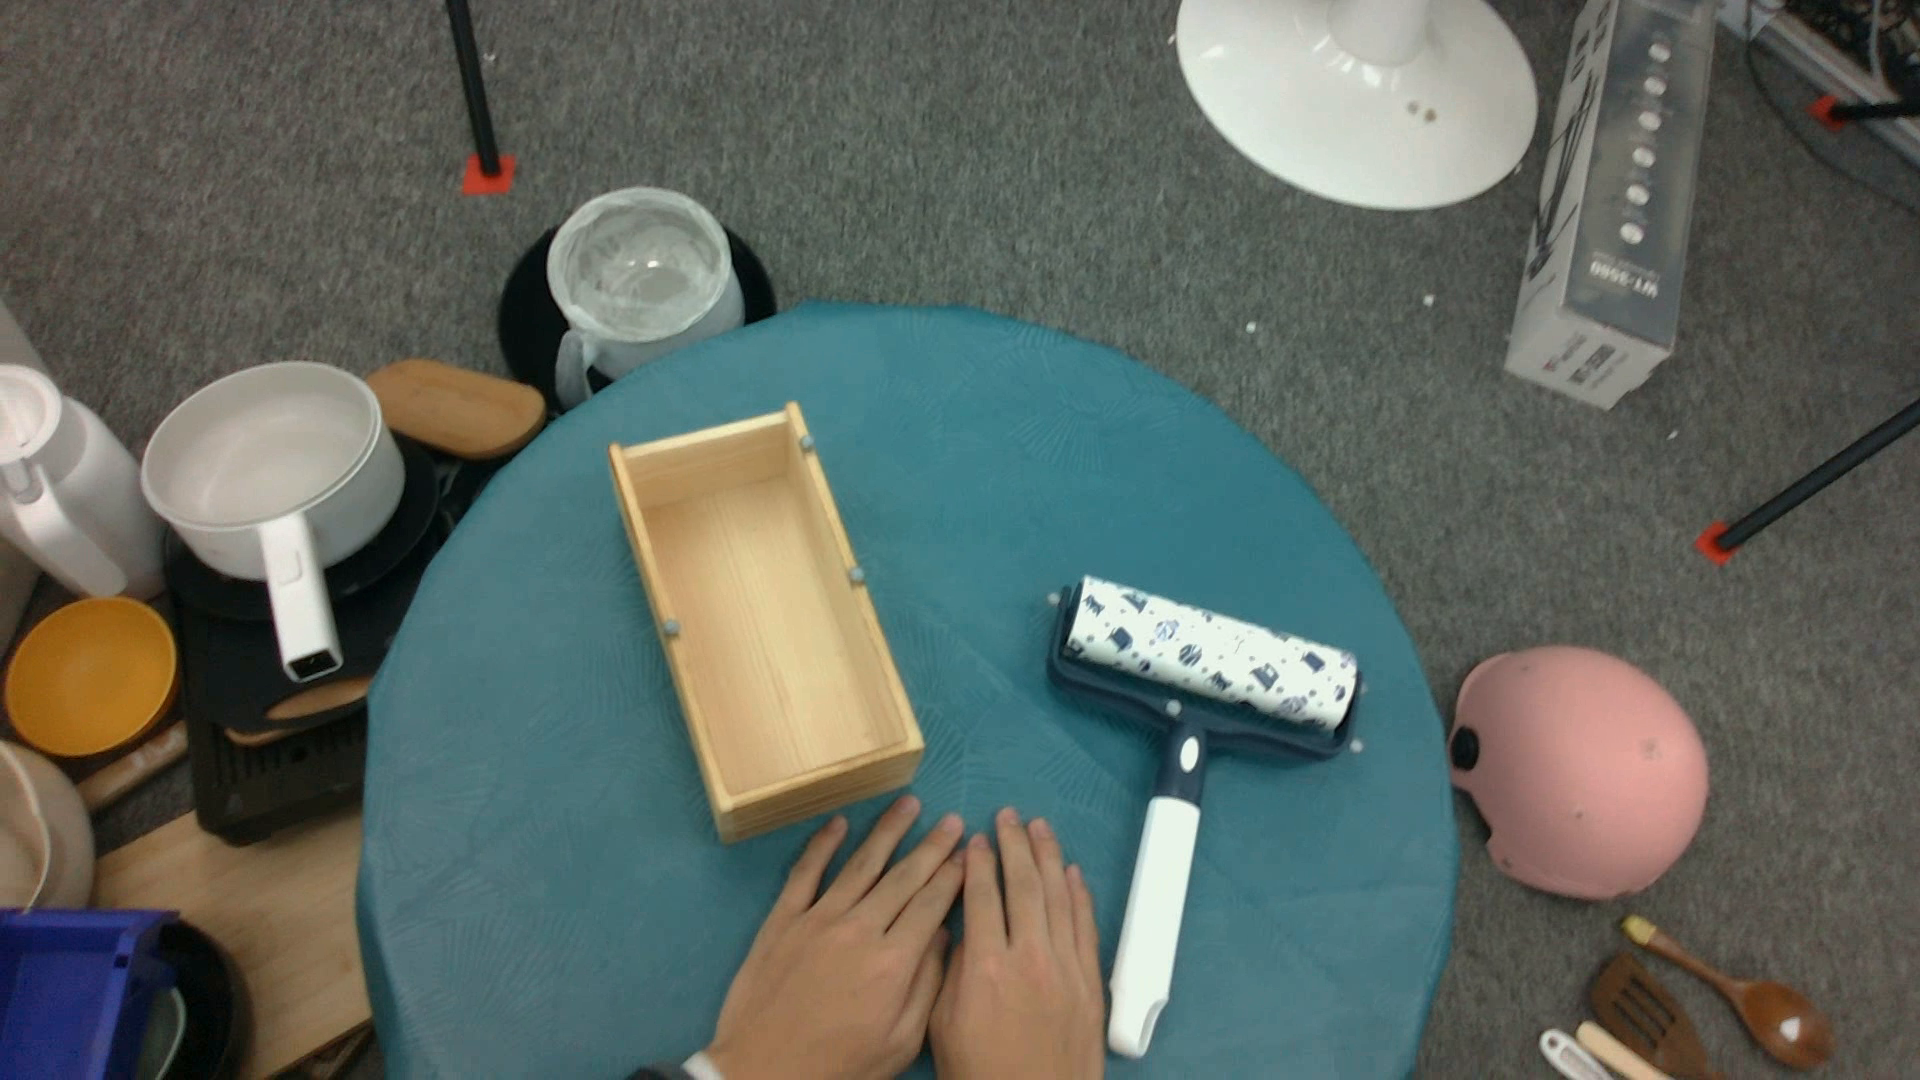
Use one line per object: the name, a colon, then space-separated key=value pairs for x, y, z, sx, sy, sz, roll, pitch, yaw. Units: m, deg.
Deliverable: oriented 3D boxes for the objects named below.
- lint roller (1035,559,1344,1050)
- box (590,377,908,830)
lint roller: x=0.110 y=0.144 z=0.737 sx=0.176 sy=0.050 sz=0.248 roll=18 pitch=64 yaw=-7
box: x=-0.115 y=0.032 z=0.738 sx=0.108 sy=0.080 sz=0.212 roll=-16 pitch=70 yaw=-16
